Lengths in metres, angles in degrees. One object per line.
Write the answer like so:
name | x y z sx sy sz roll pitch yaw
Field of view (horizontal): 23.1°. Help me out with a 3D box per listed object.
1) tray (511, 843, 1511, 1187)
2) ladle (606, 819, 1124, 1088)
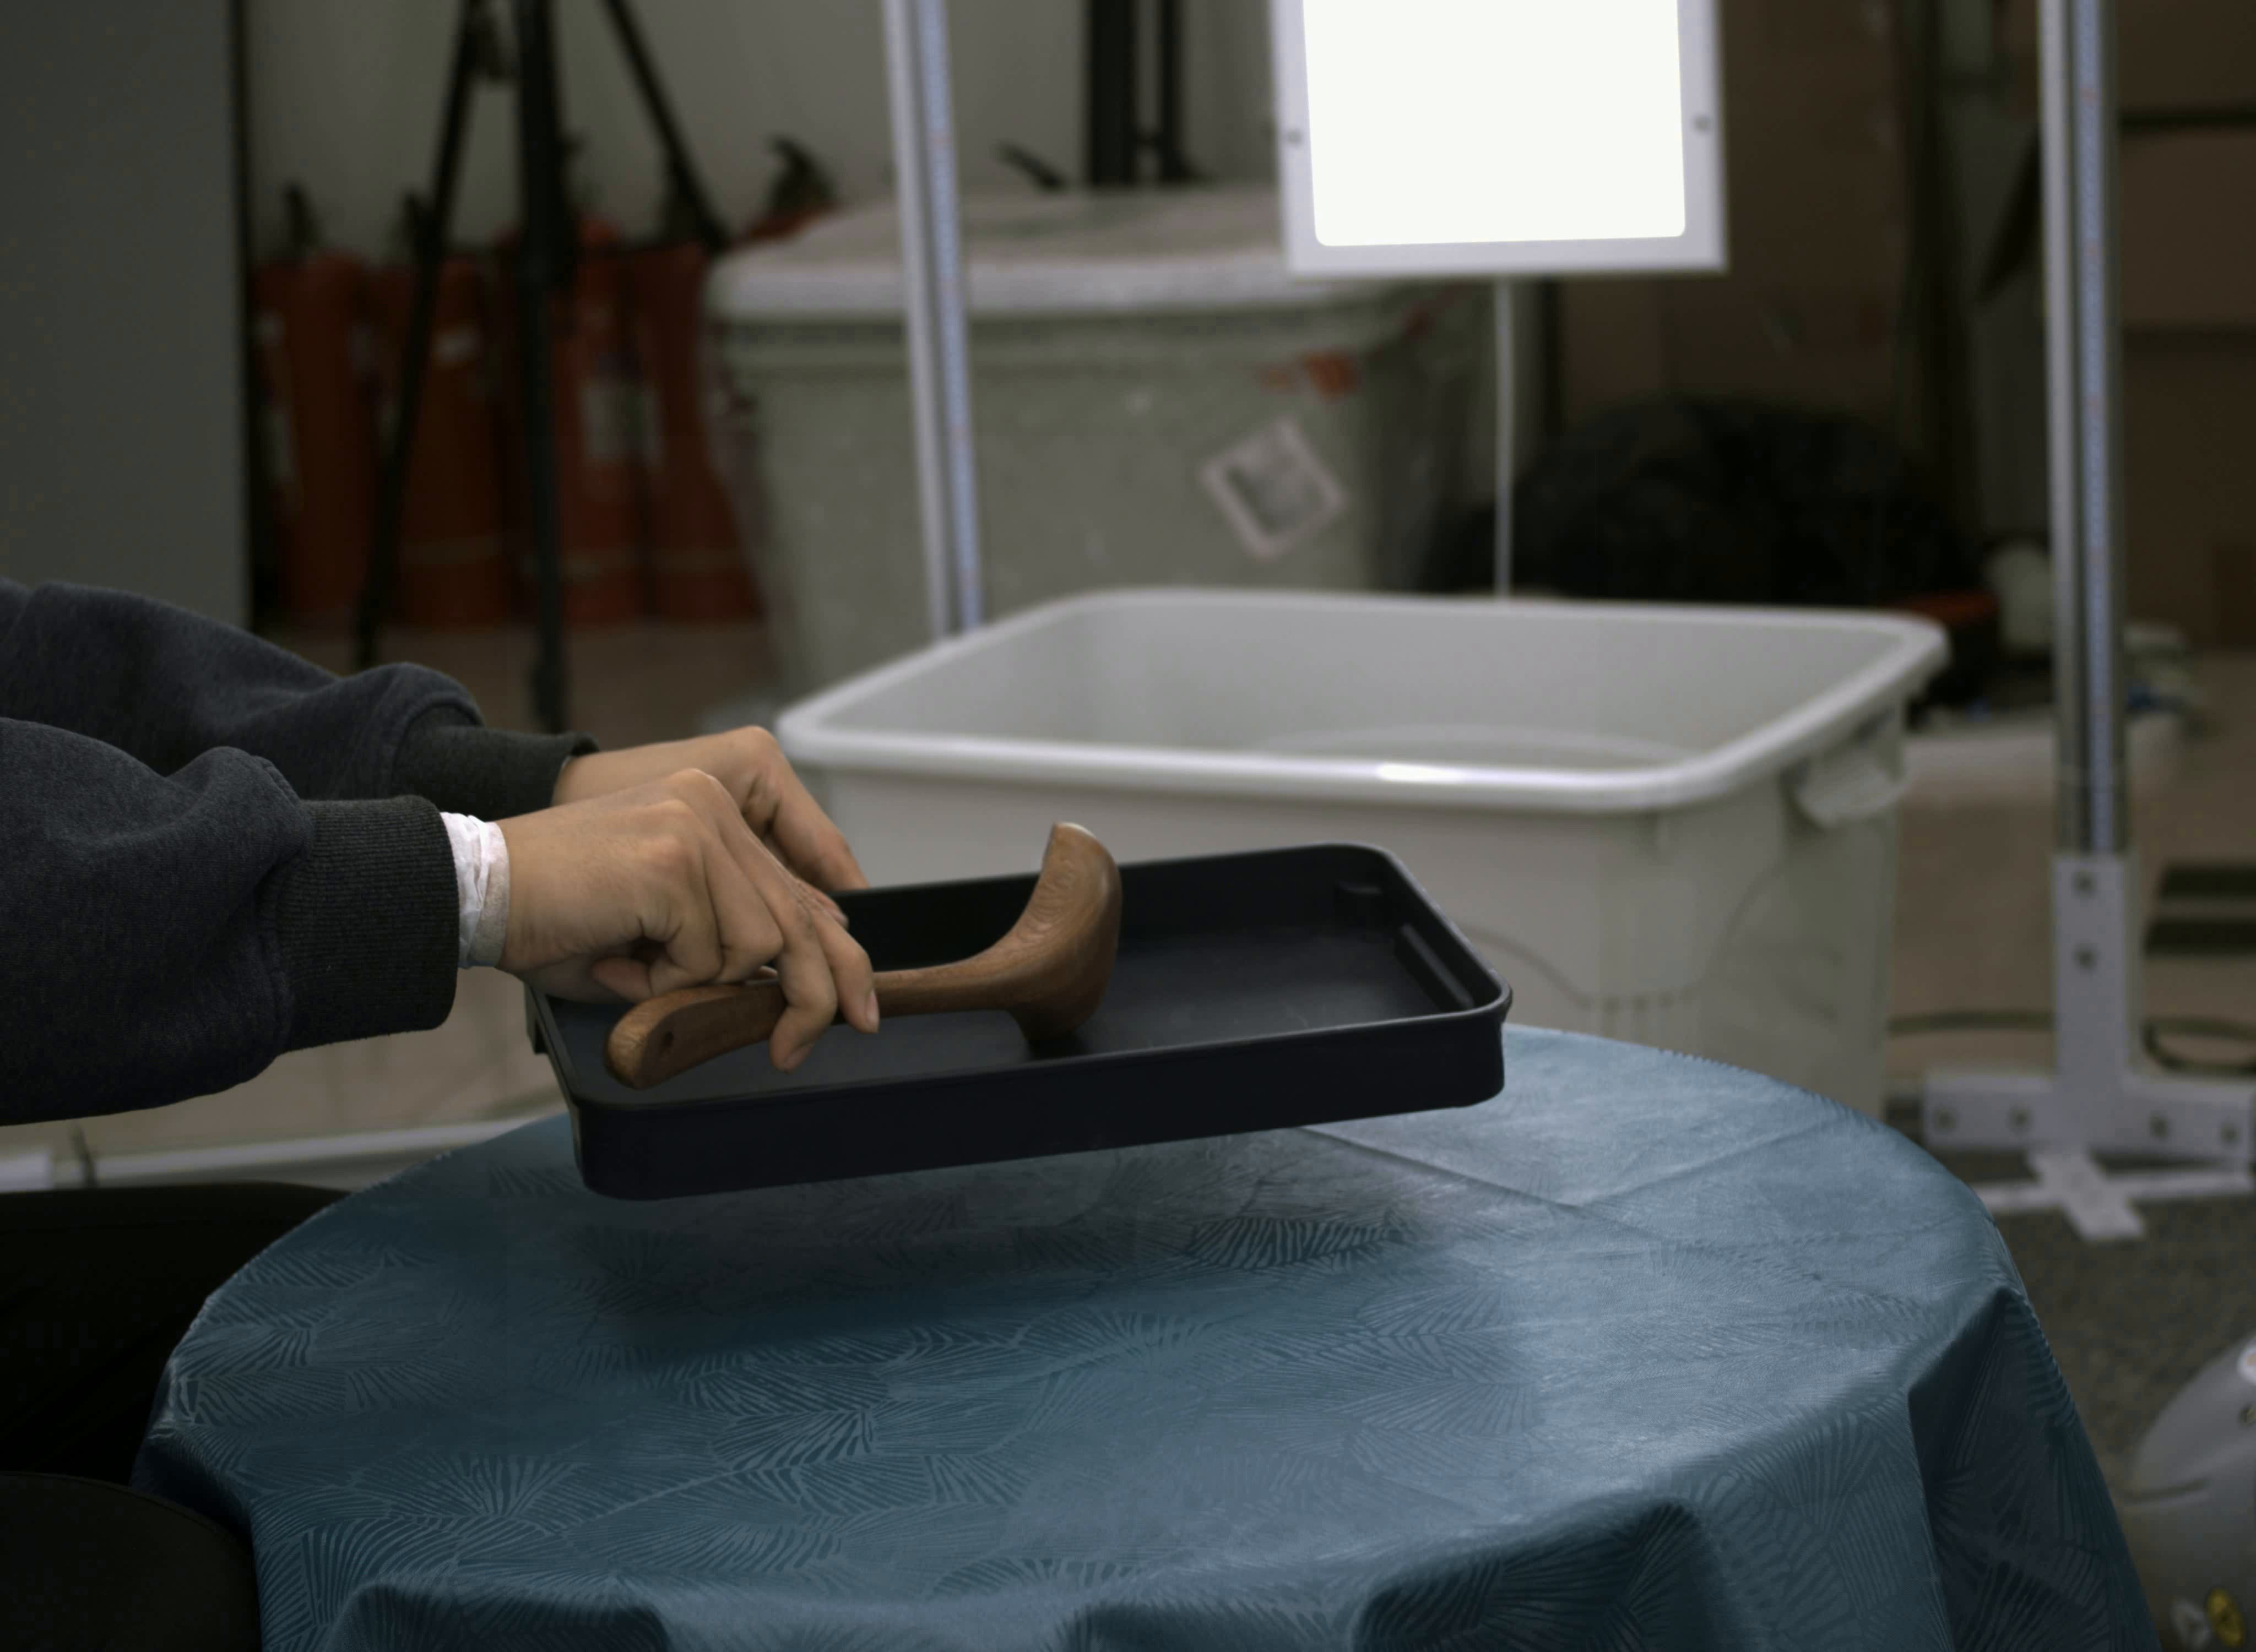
tray | -0.043 0.061 1.869 0.314 0.037 0.185 -5 19 -10
ladle | -0.089 0.049 1.804 0.066 0.077 0.253 19 21 41
